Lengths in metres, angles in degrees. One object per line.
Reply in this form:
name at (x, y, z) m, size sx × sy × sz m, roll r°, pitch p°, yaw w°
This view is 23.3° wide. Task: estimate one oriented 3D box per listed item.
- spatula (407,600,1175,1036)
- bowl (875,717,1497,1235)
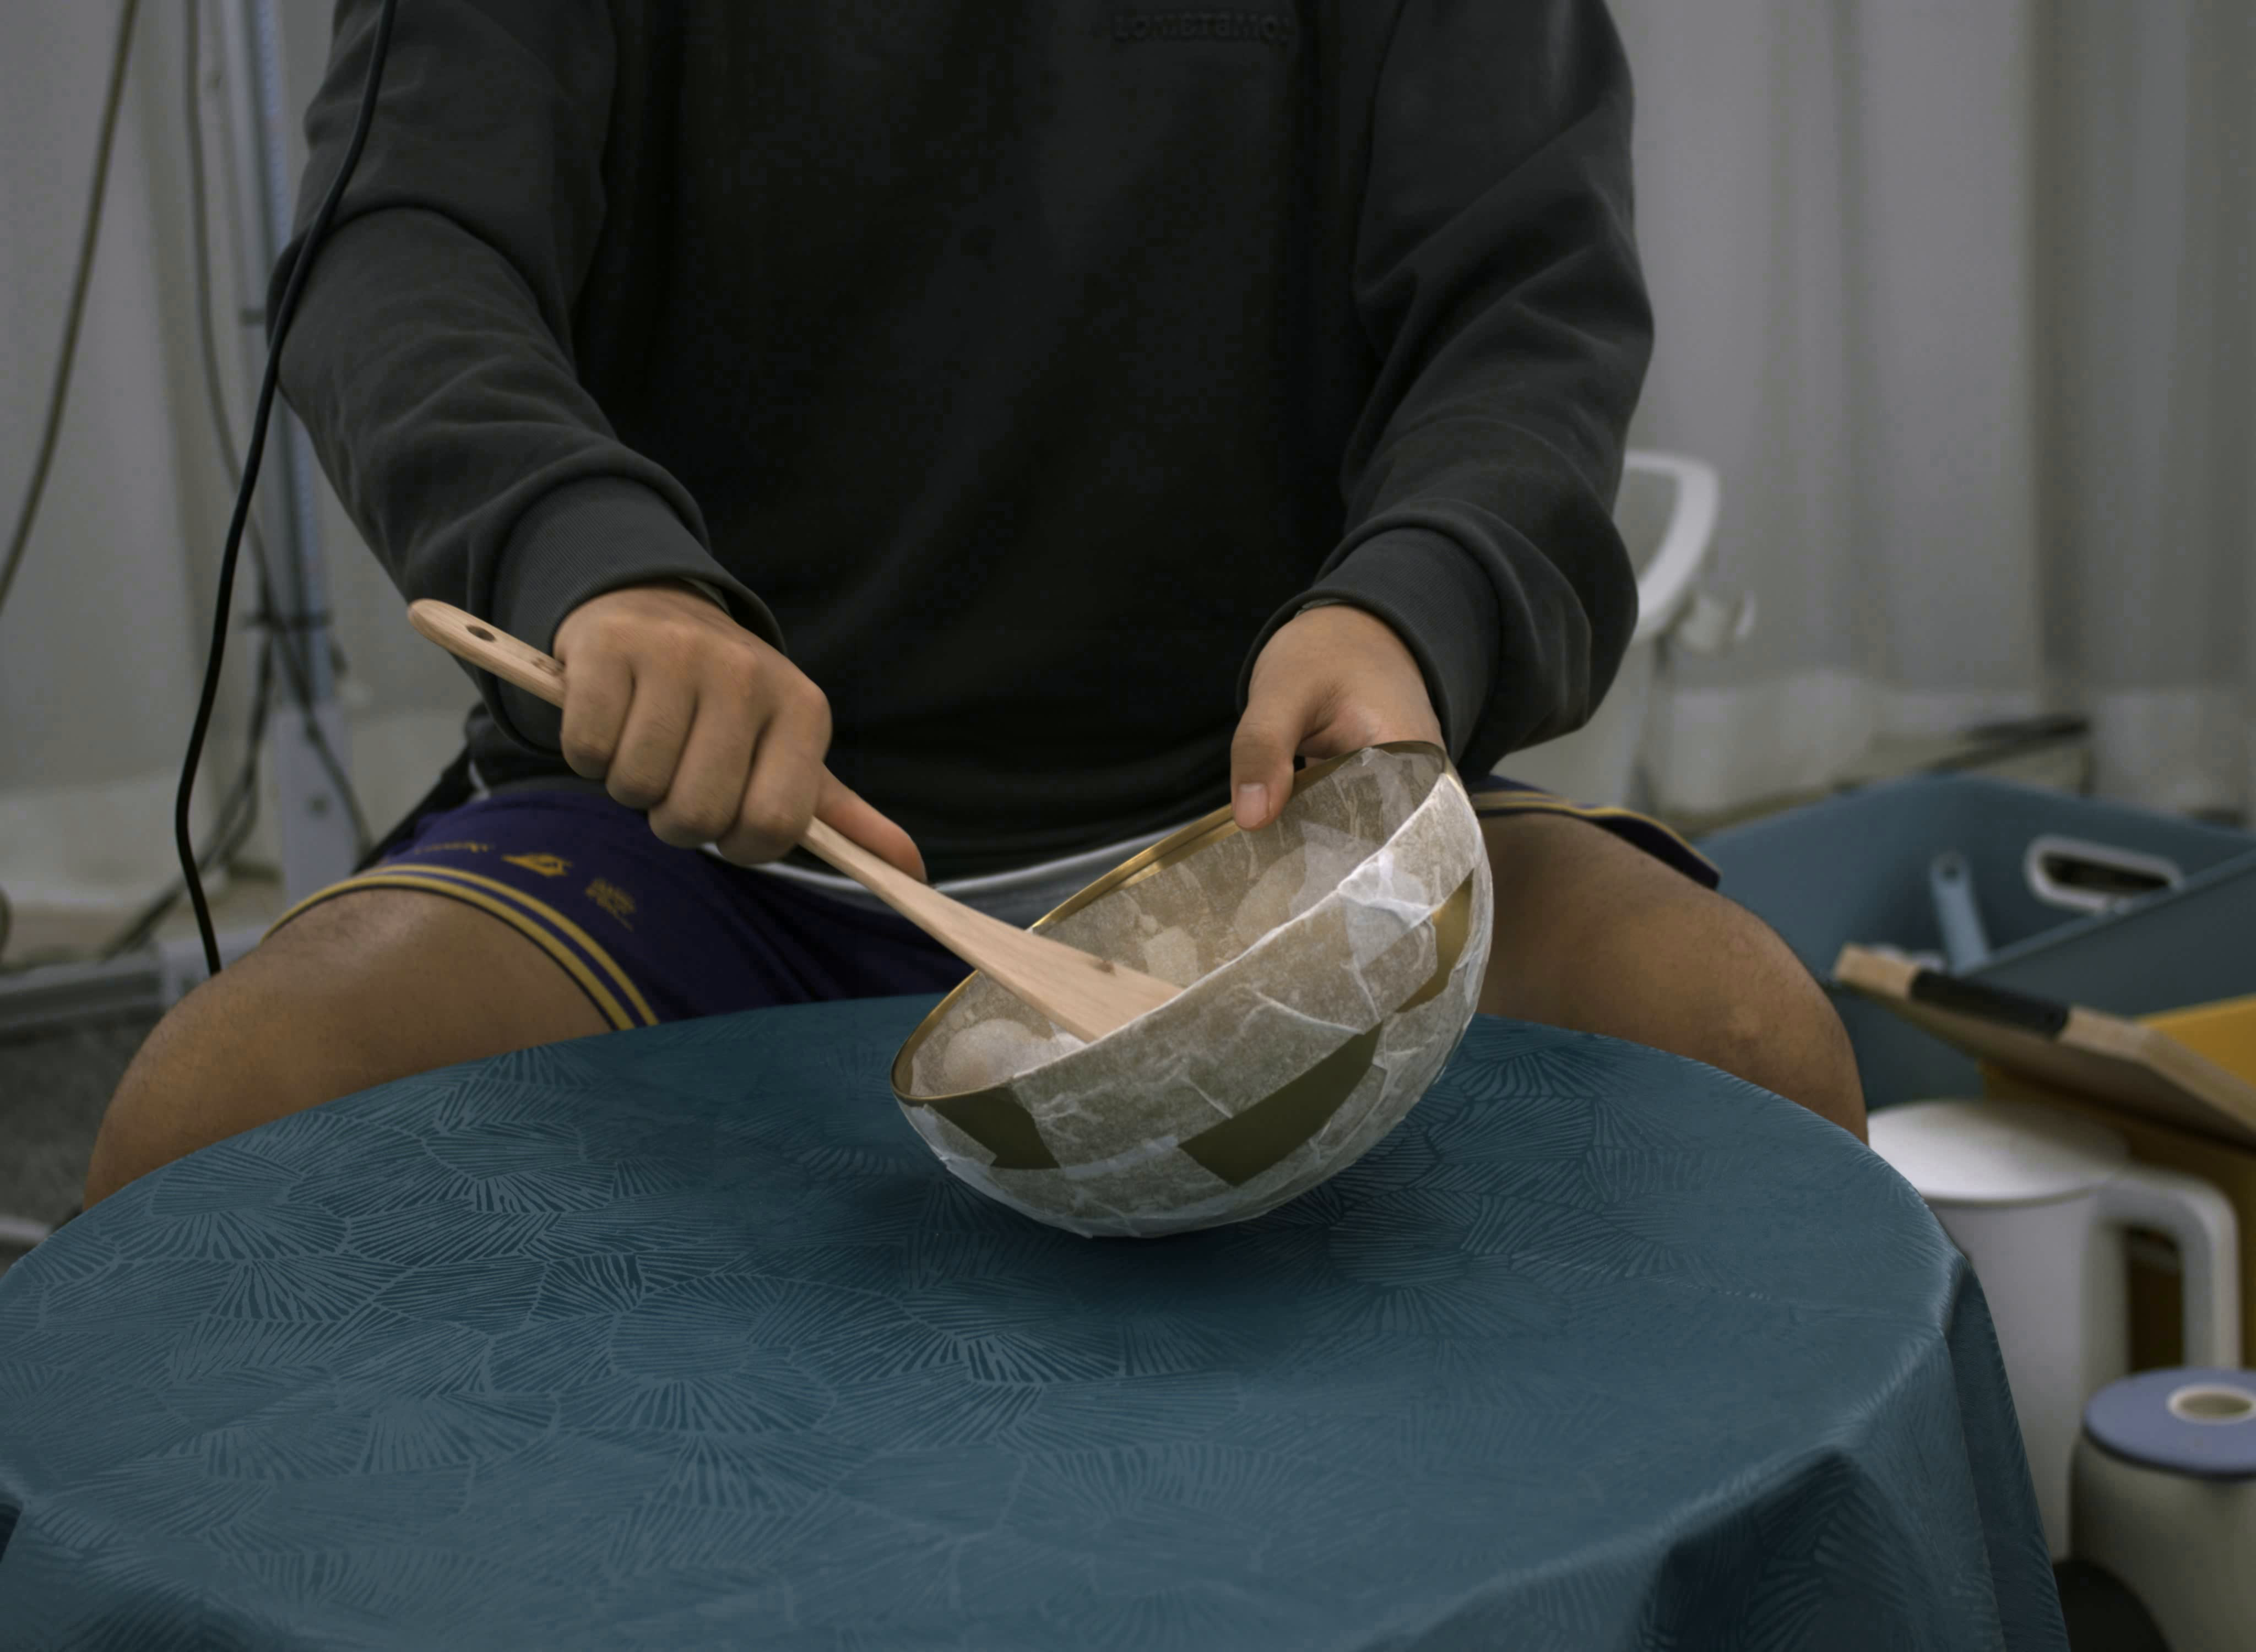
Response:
spatula at (-0.078, 0.009, 1.689) m, size 0.327 × 0.016 × 0.080 m, roll 30°, pitch 20°, yaw 3°
bowl at (0.034, 0.061, 1.680) m, size 0.214 × 0.094 × 0.216 m, roll -31°, pitch 12°, yaw 6°
